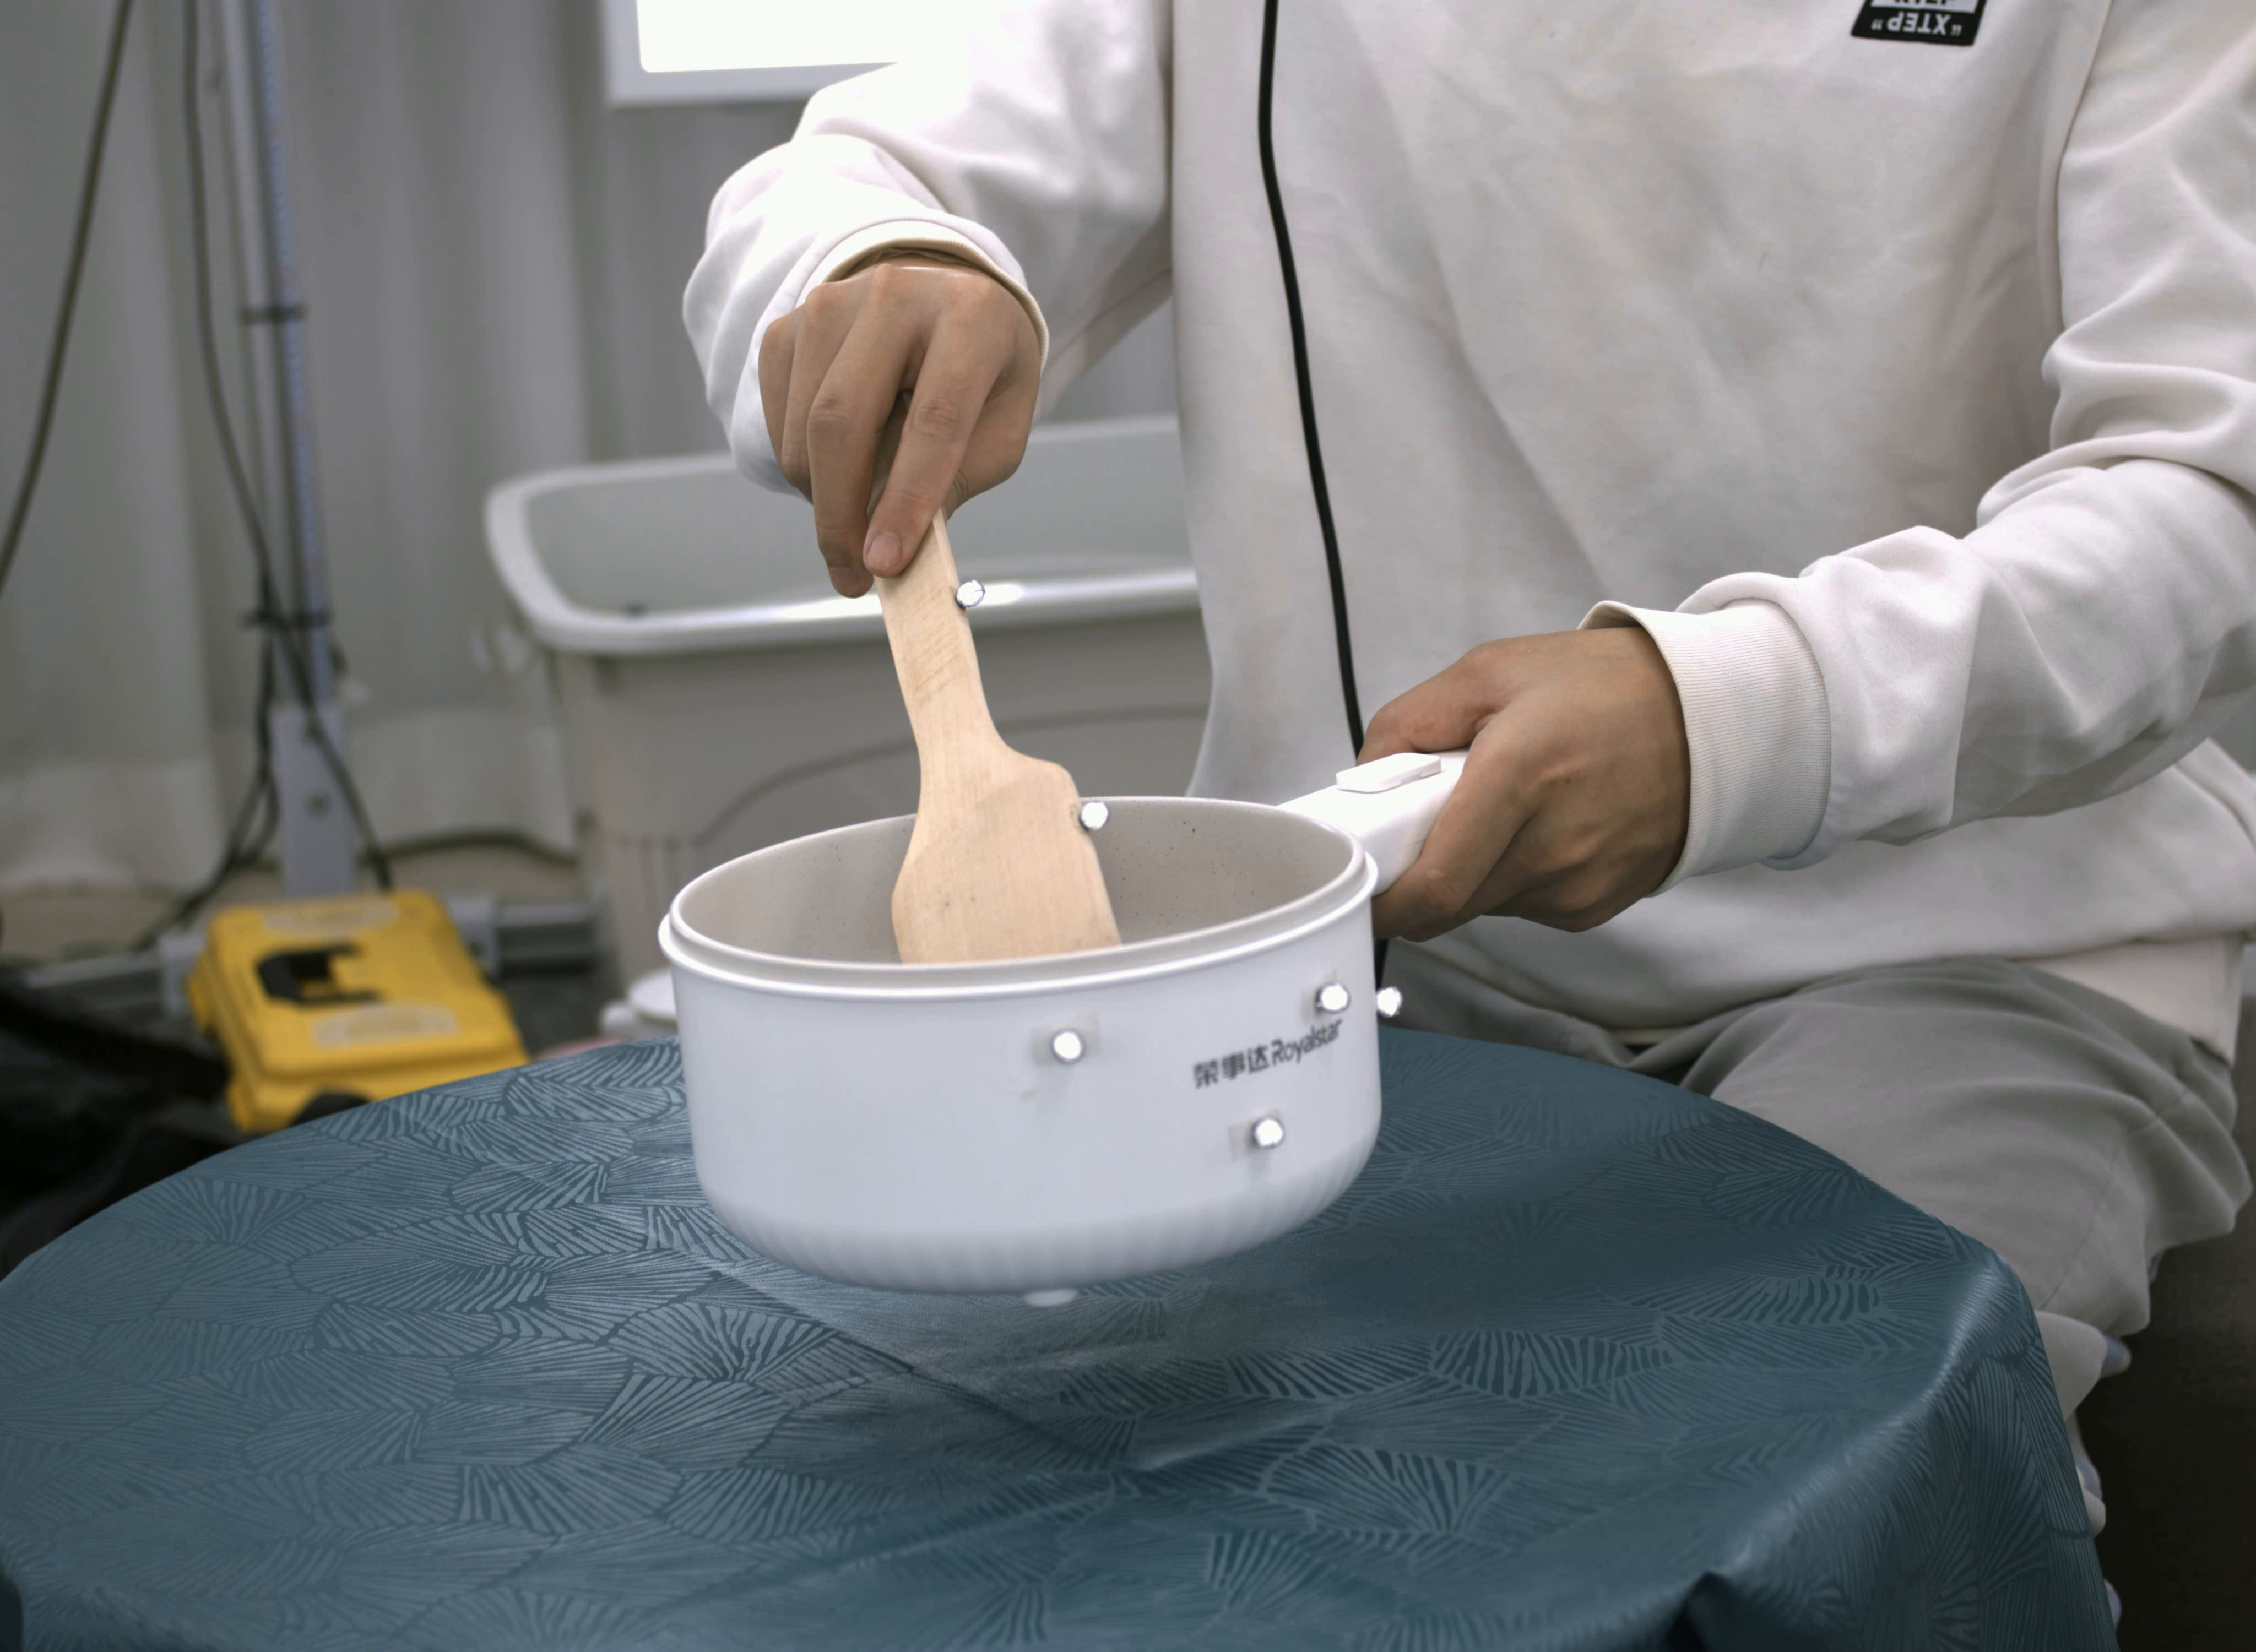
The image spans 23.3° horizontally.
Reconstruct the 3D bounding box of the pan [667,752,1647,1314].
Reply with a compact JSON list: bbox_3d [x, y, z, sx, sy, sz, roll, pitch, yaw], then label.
[{"bbox_3d":[0.027,0.055,1.589,0.202,0.102,0.354,2,12,44],"label":"pan"}]
